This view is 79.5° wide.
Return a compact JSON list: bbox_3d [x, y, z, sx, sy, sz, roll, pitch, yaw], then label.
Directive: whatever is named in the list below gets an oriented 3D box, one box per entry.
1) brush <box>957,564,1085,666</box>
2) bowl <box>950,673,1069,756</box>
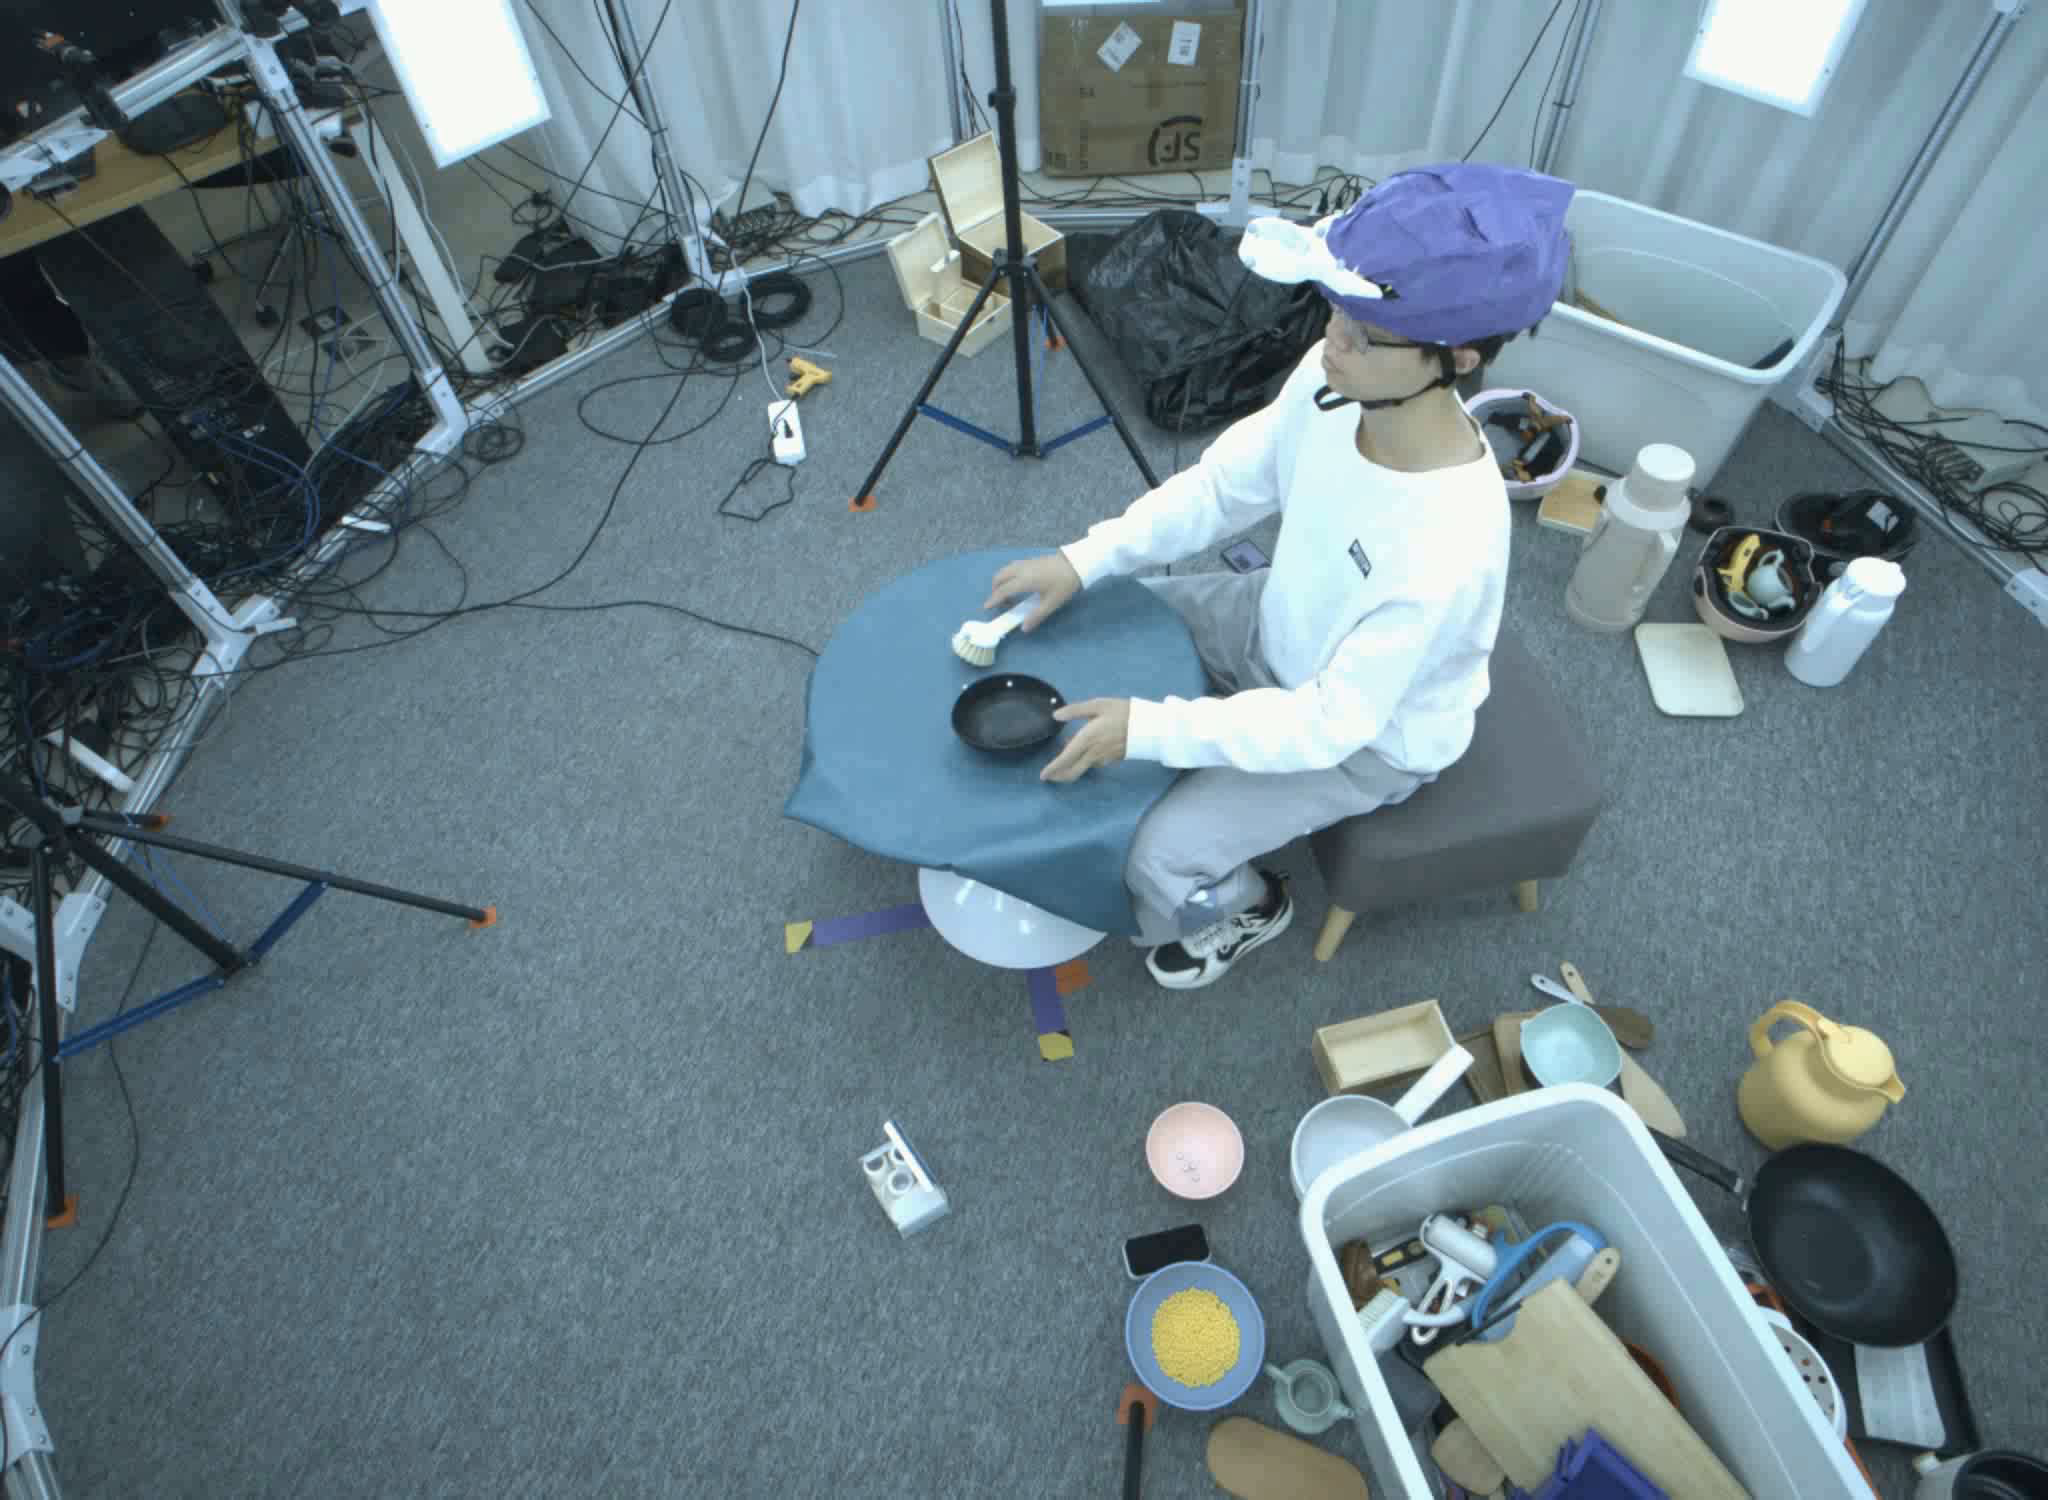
[{"bbox_3d":[0.000,-0.213,1.921,0.068,0.056,0.269,43,54,13],"label":"brush"},{"bbox_3d":[-0.021,-0.041,1.775,0.171,0.067,0.135,-7,54,-7],"label":"bowl"}]
